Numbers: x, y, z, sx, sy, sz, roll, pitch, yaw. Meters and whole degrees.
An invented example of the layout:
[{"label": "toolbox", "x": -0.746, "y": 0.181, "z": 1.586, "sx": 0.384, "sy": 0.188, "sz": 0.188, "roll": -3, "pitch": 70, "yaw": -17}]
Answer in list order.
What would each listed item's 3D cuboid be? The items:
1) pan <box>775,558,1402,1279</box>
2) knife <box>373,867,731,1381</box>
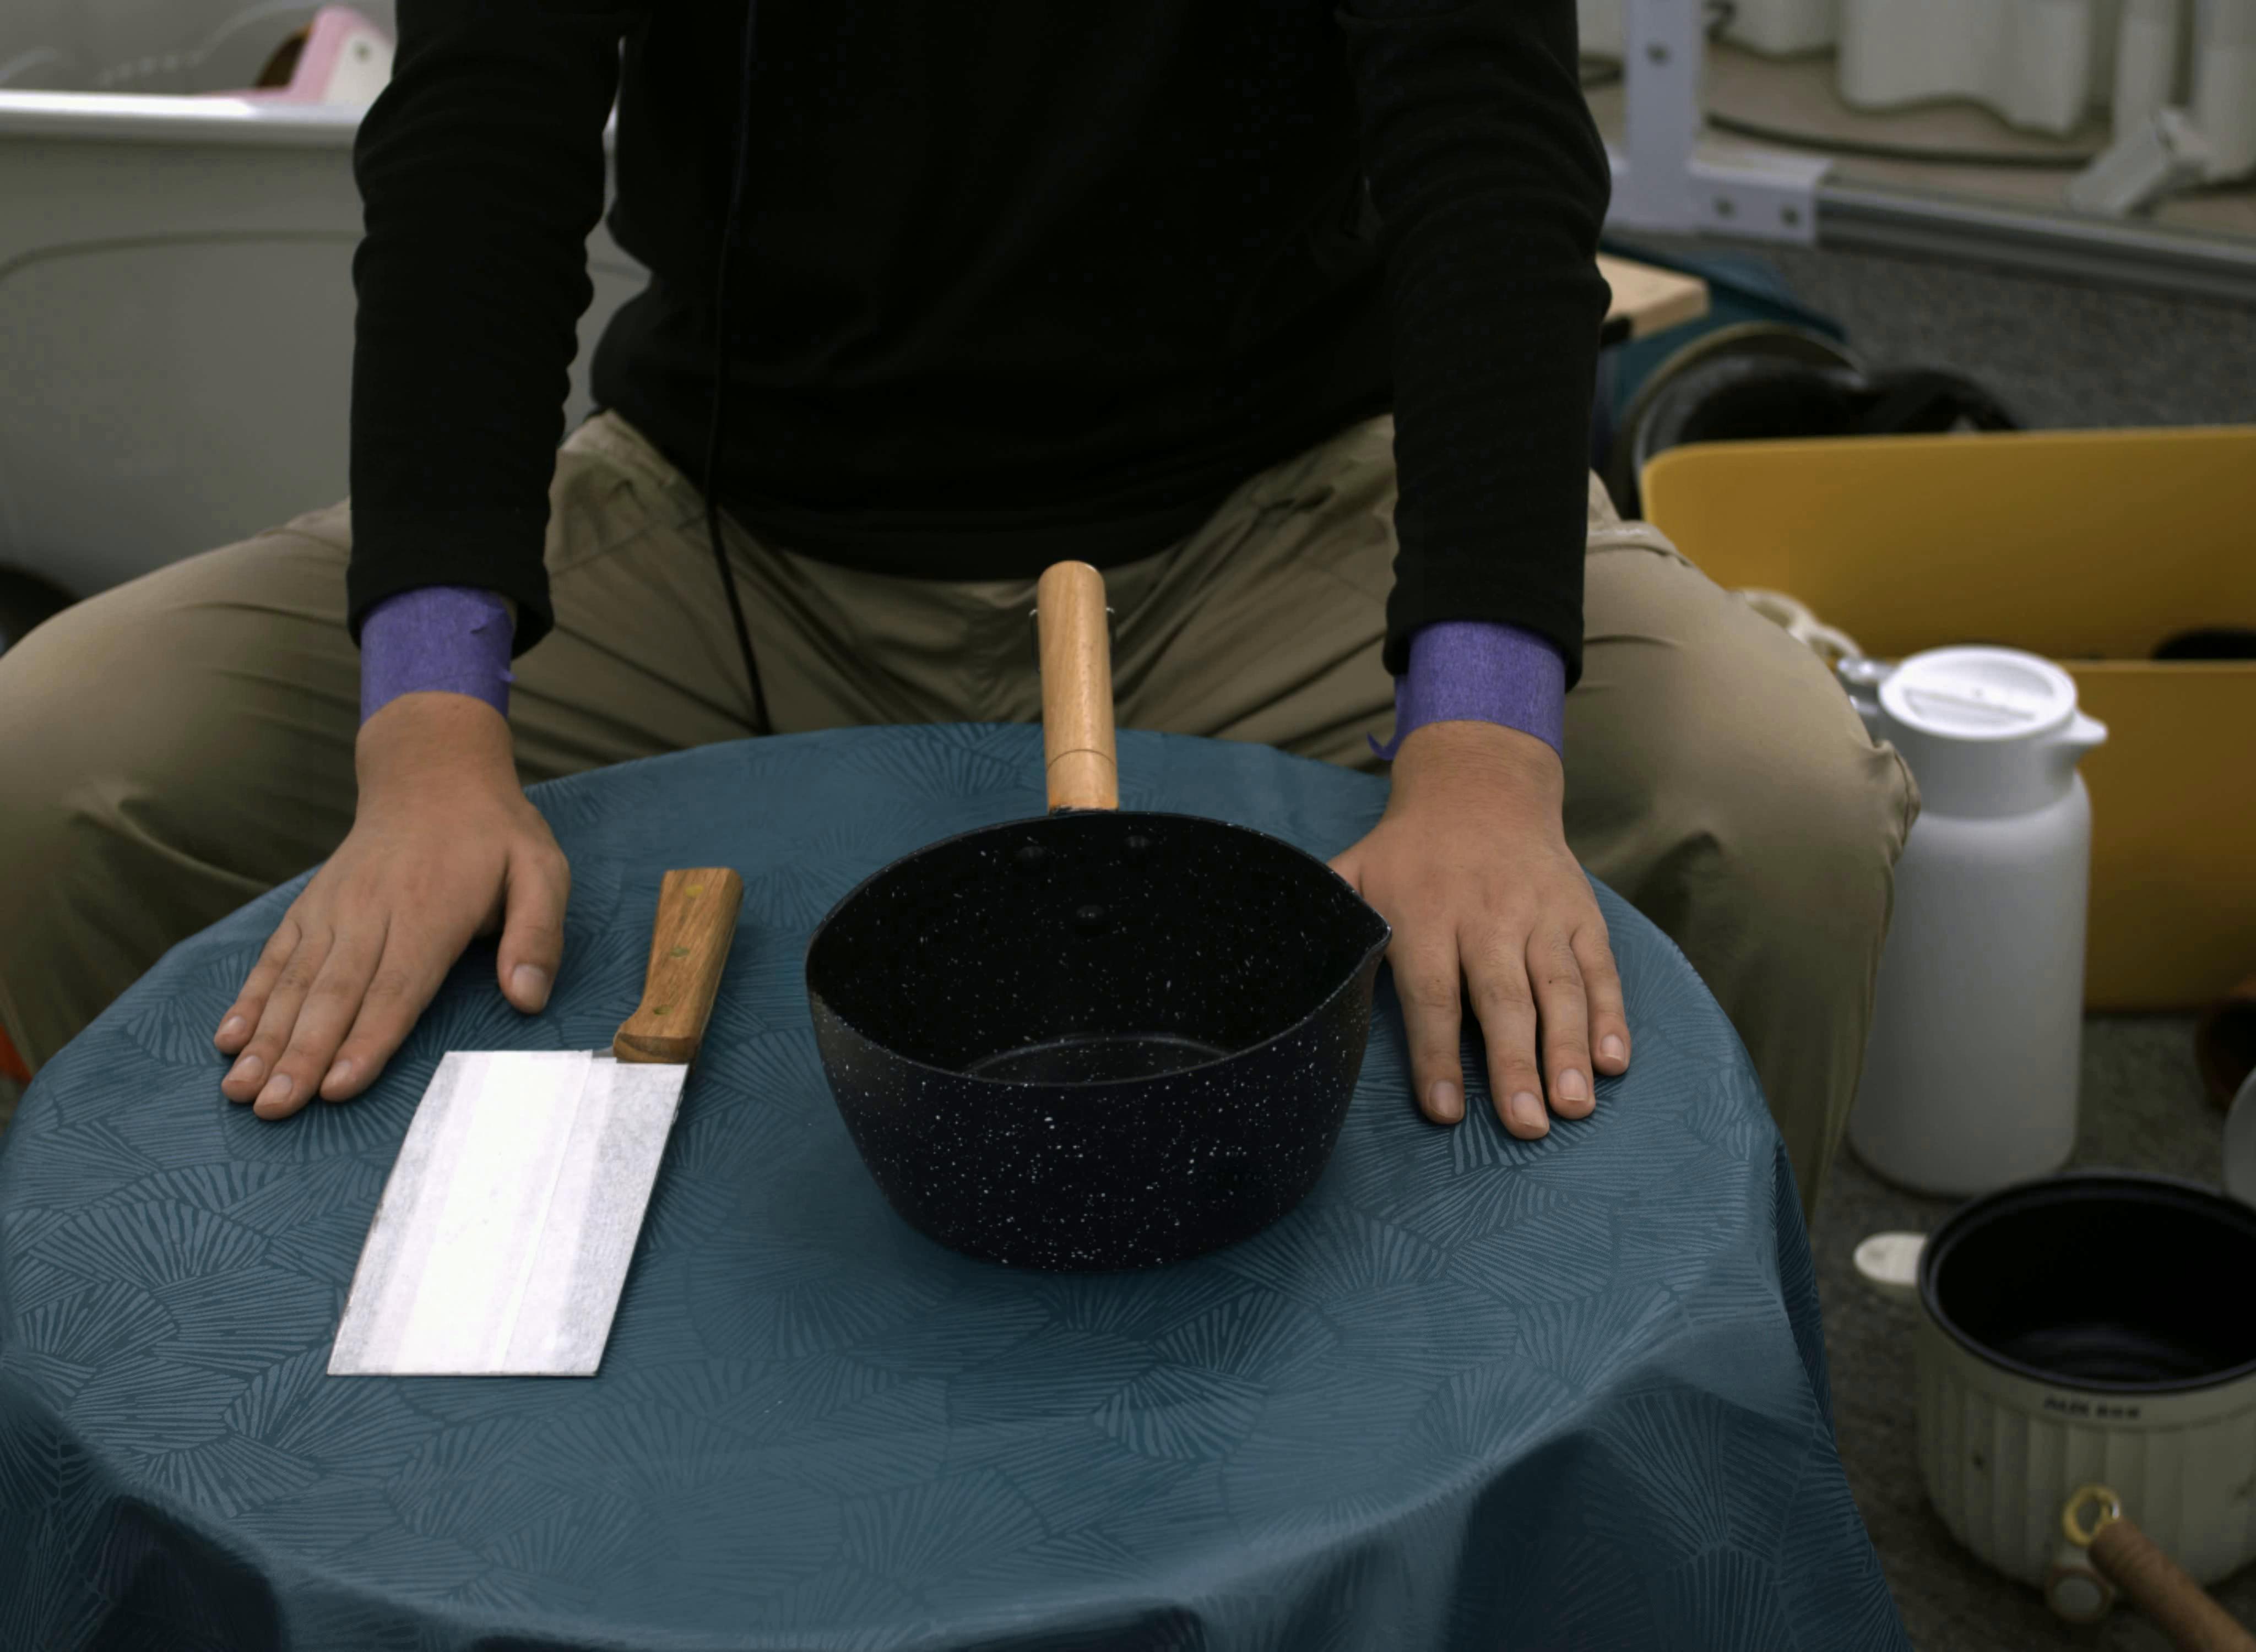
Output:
[{"label": "pan", "x": -0.015, "y": 0.028, "z": 1.928, "sx": 0.206, "sy": 0.107, "sz": 0.348, "roll": -4, "pitch": 28, "yaw": -1}, {"label": "knife", "x": -0.195, "y": 0.098, "z": 1.907, "sx": 0.092, "sy": 0.021, "sz": 0.311, "roll": -1, "pitch": 29, "yaw": 7}]
